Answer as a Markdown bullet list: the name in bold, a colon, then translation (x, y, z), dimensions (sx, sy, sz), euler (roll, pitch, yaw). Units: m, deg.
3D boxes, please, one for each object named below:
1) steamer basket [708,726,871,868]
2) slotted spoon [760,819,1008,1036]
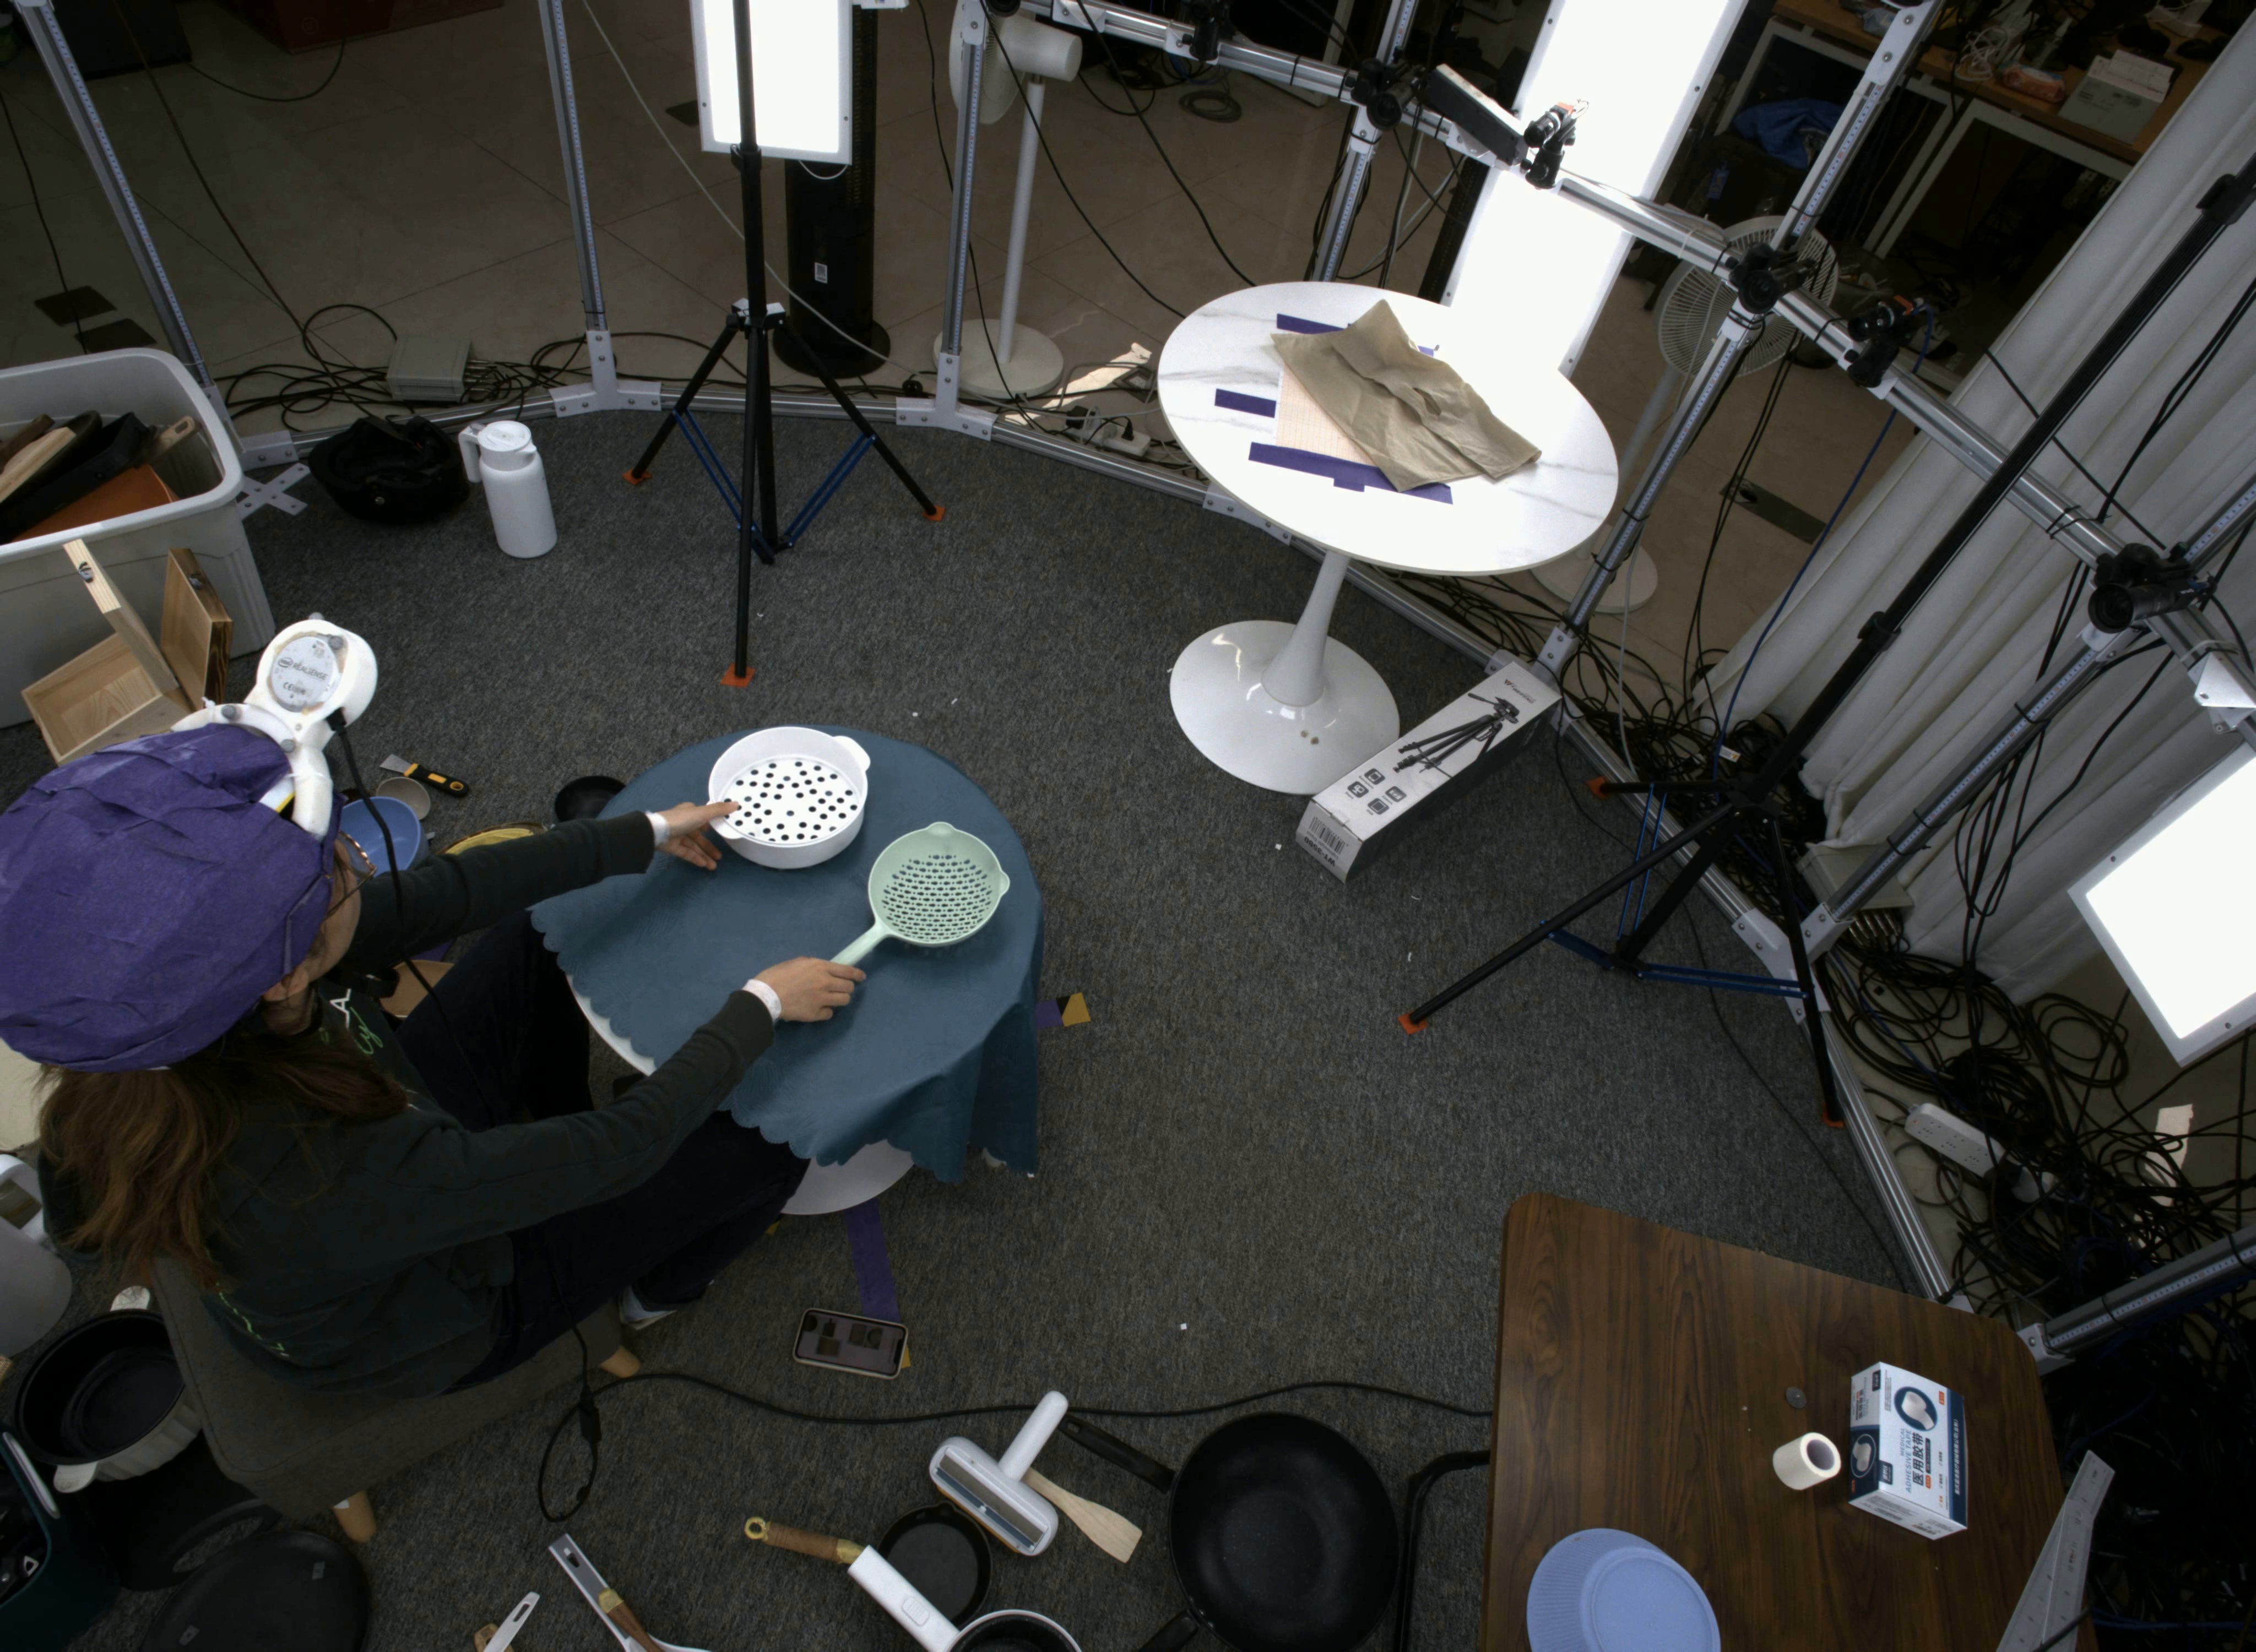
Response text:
- **steamer basket**: translation (-0.443, -0.038, 1.712), dimensions (0.197, 0.071, 0.231), euler (43, 56, 19)
- **slotted spoon**: translation (-0.312, 0.133, 1.617), dimensions (0.165, 0.077, 0.359), euler (40, 55, 19)
